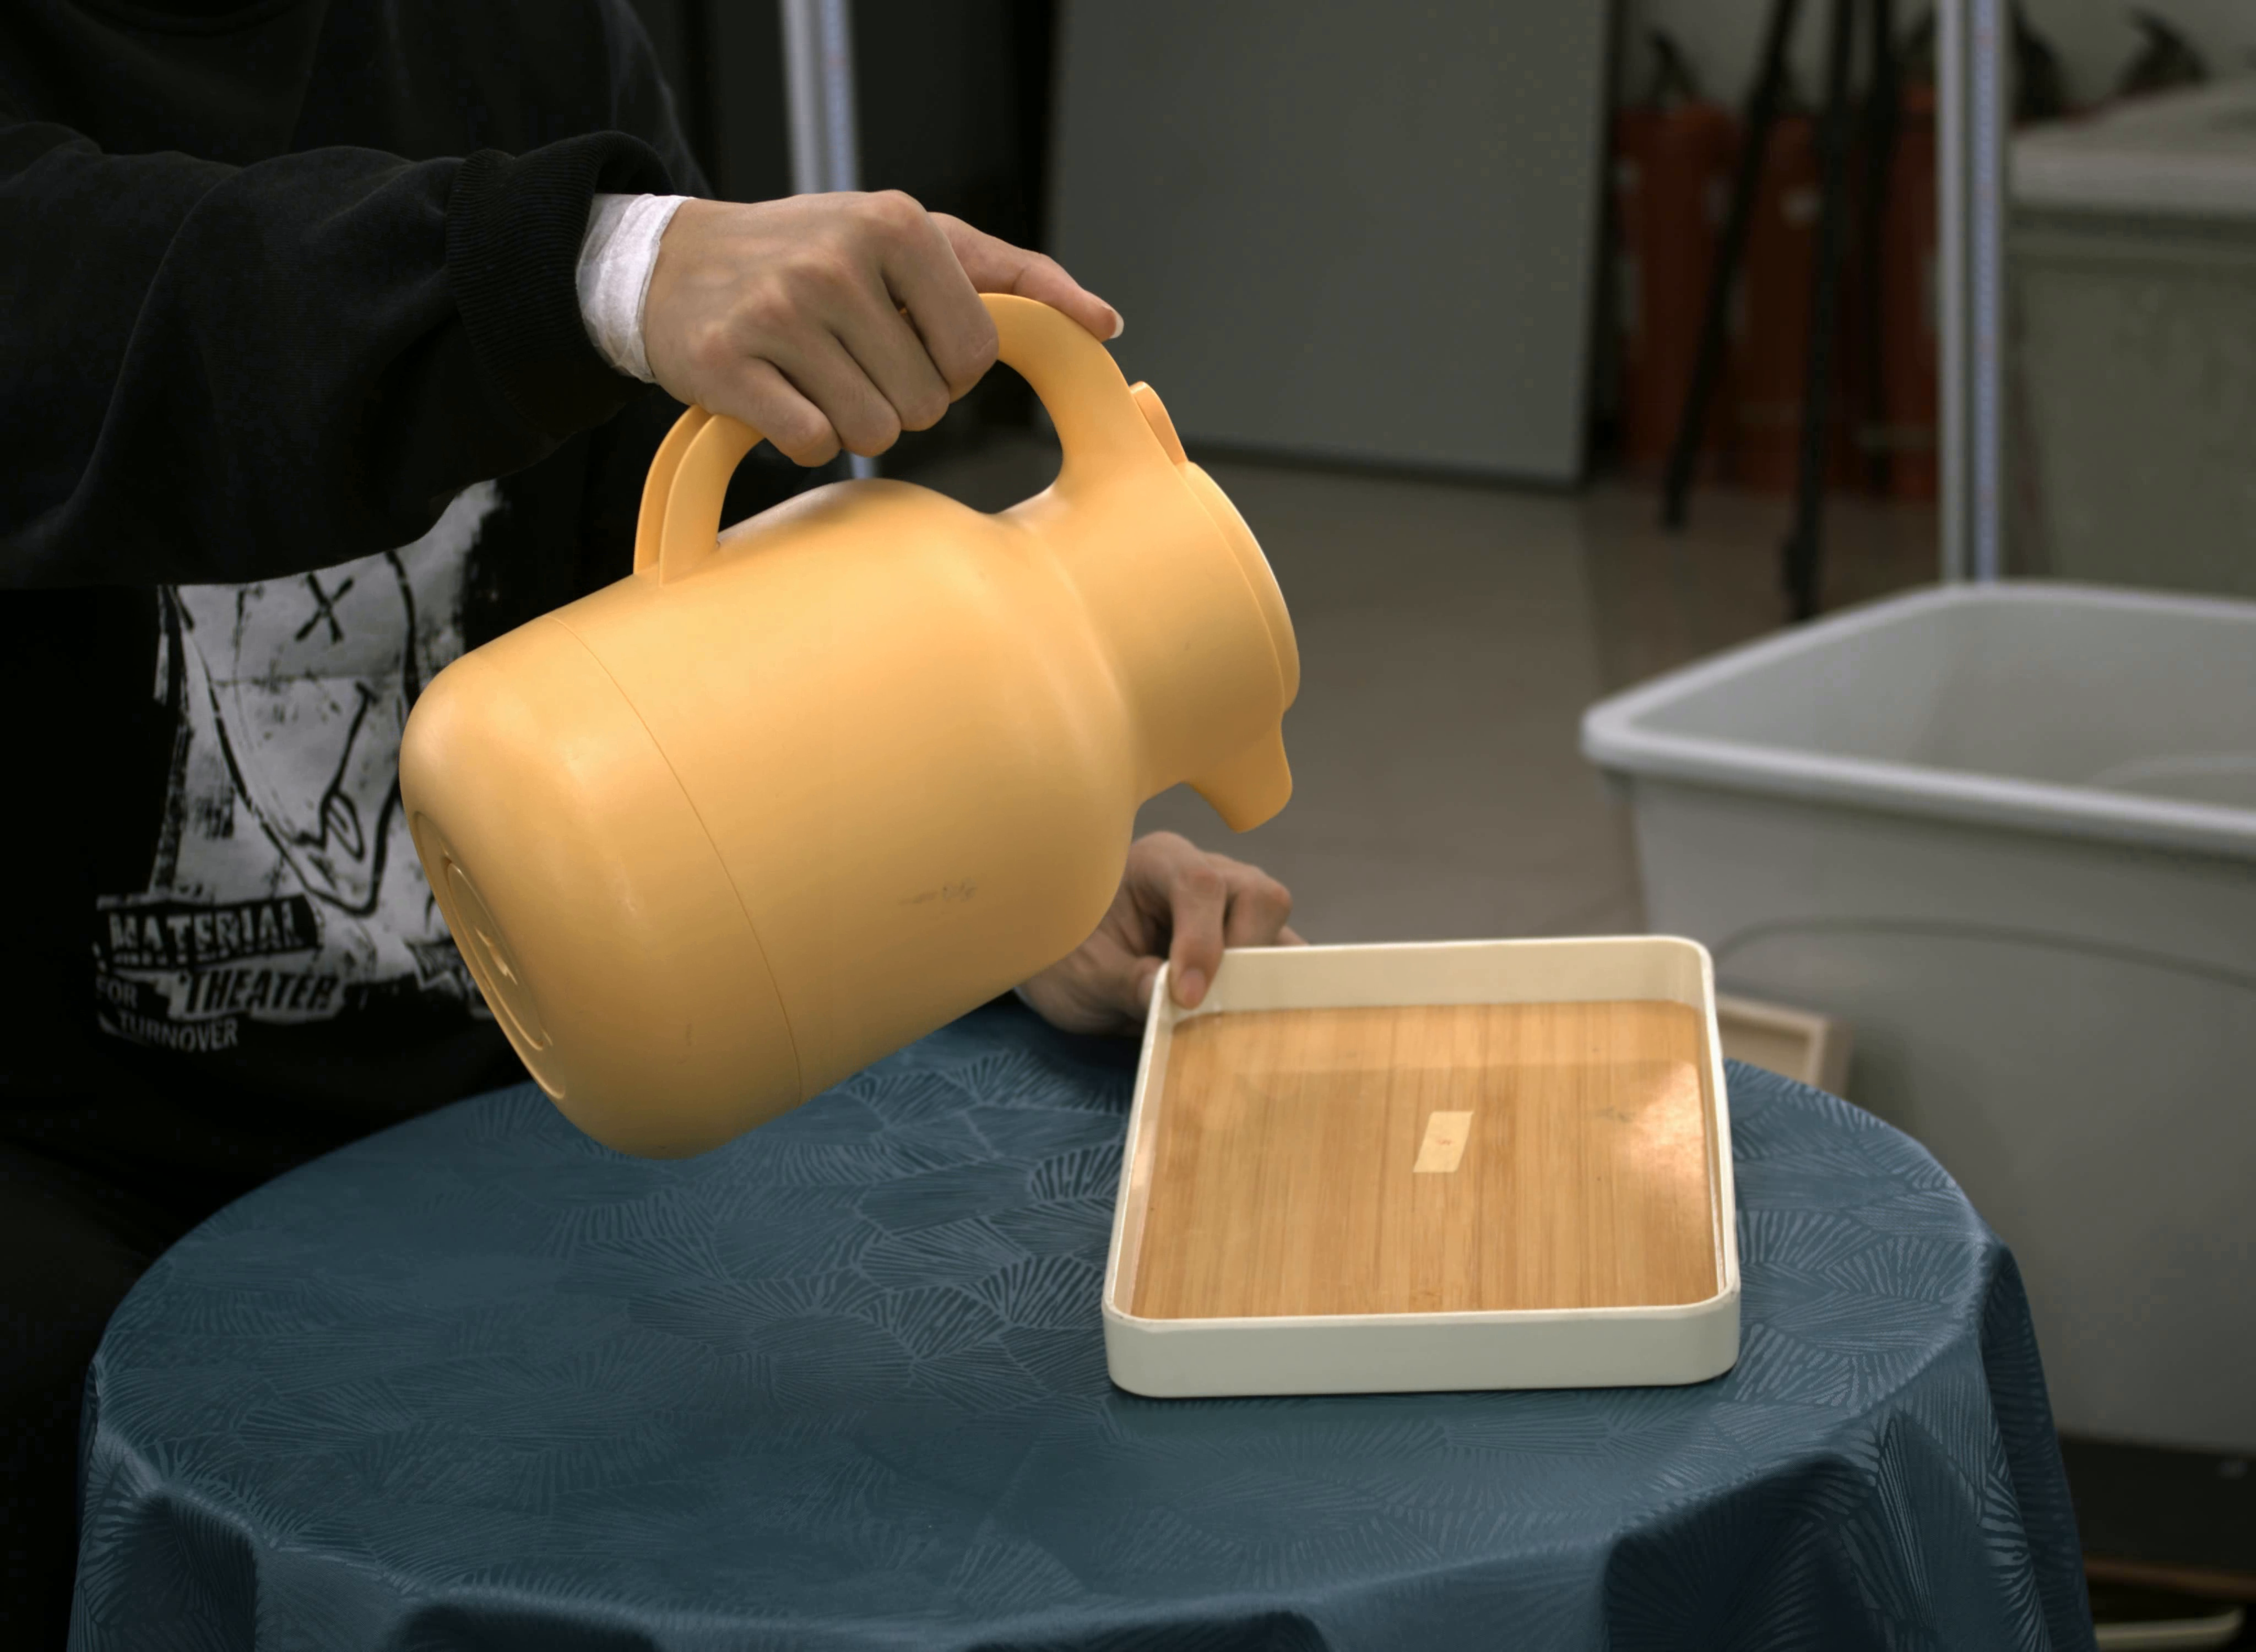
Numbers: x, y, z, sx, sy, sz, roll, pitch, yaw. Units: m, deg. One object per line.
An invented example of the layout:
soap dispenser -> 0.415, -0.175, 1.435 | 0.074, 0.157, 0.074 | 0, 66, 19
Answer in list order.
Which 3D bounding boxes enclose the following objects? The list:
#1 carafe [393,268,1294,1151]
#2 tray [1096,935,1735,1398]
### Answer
carafe -> -0.085, -0.041, 1.590 | 0.256, 0.203, 0.165 | -26, 14, -16
tray -> 0.094, 0.103, 1.703 | 0.190, 0.027, 0.300 | -3, 20, 6
